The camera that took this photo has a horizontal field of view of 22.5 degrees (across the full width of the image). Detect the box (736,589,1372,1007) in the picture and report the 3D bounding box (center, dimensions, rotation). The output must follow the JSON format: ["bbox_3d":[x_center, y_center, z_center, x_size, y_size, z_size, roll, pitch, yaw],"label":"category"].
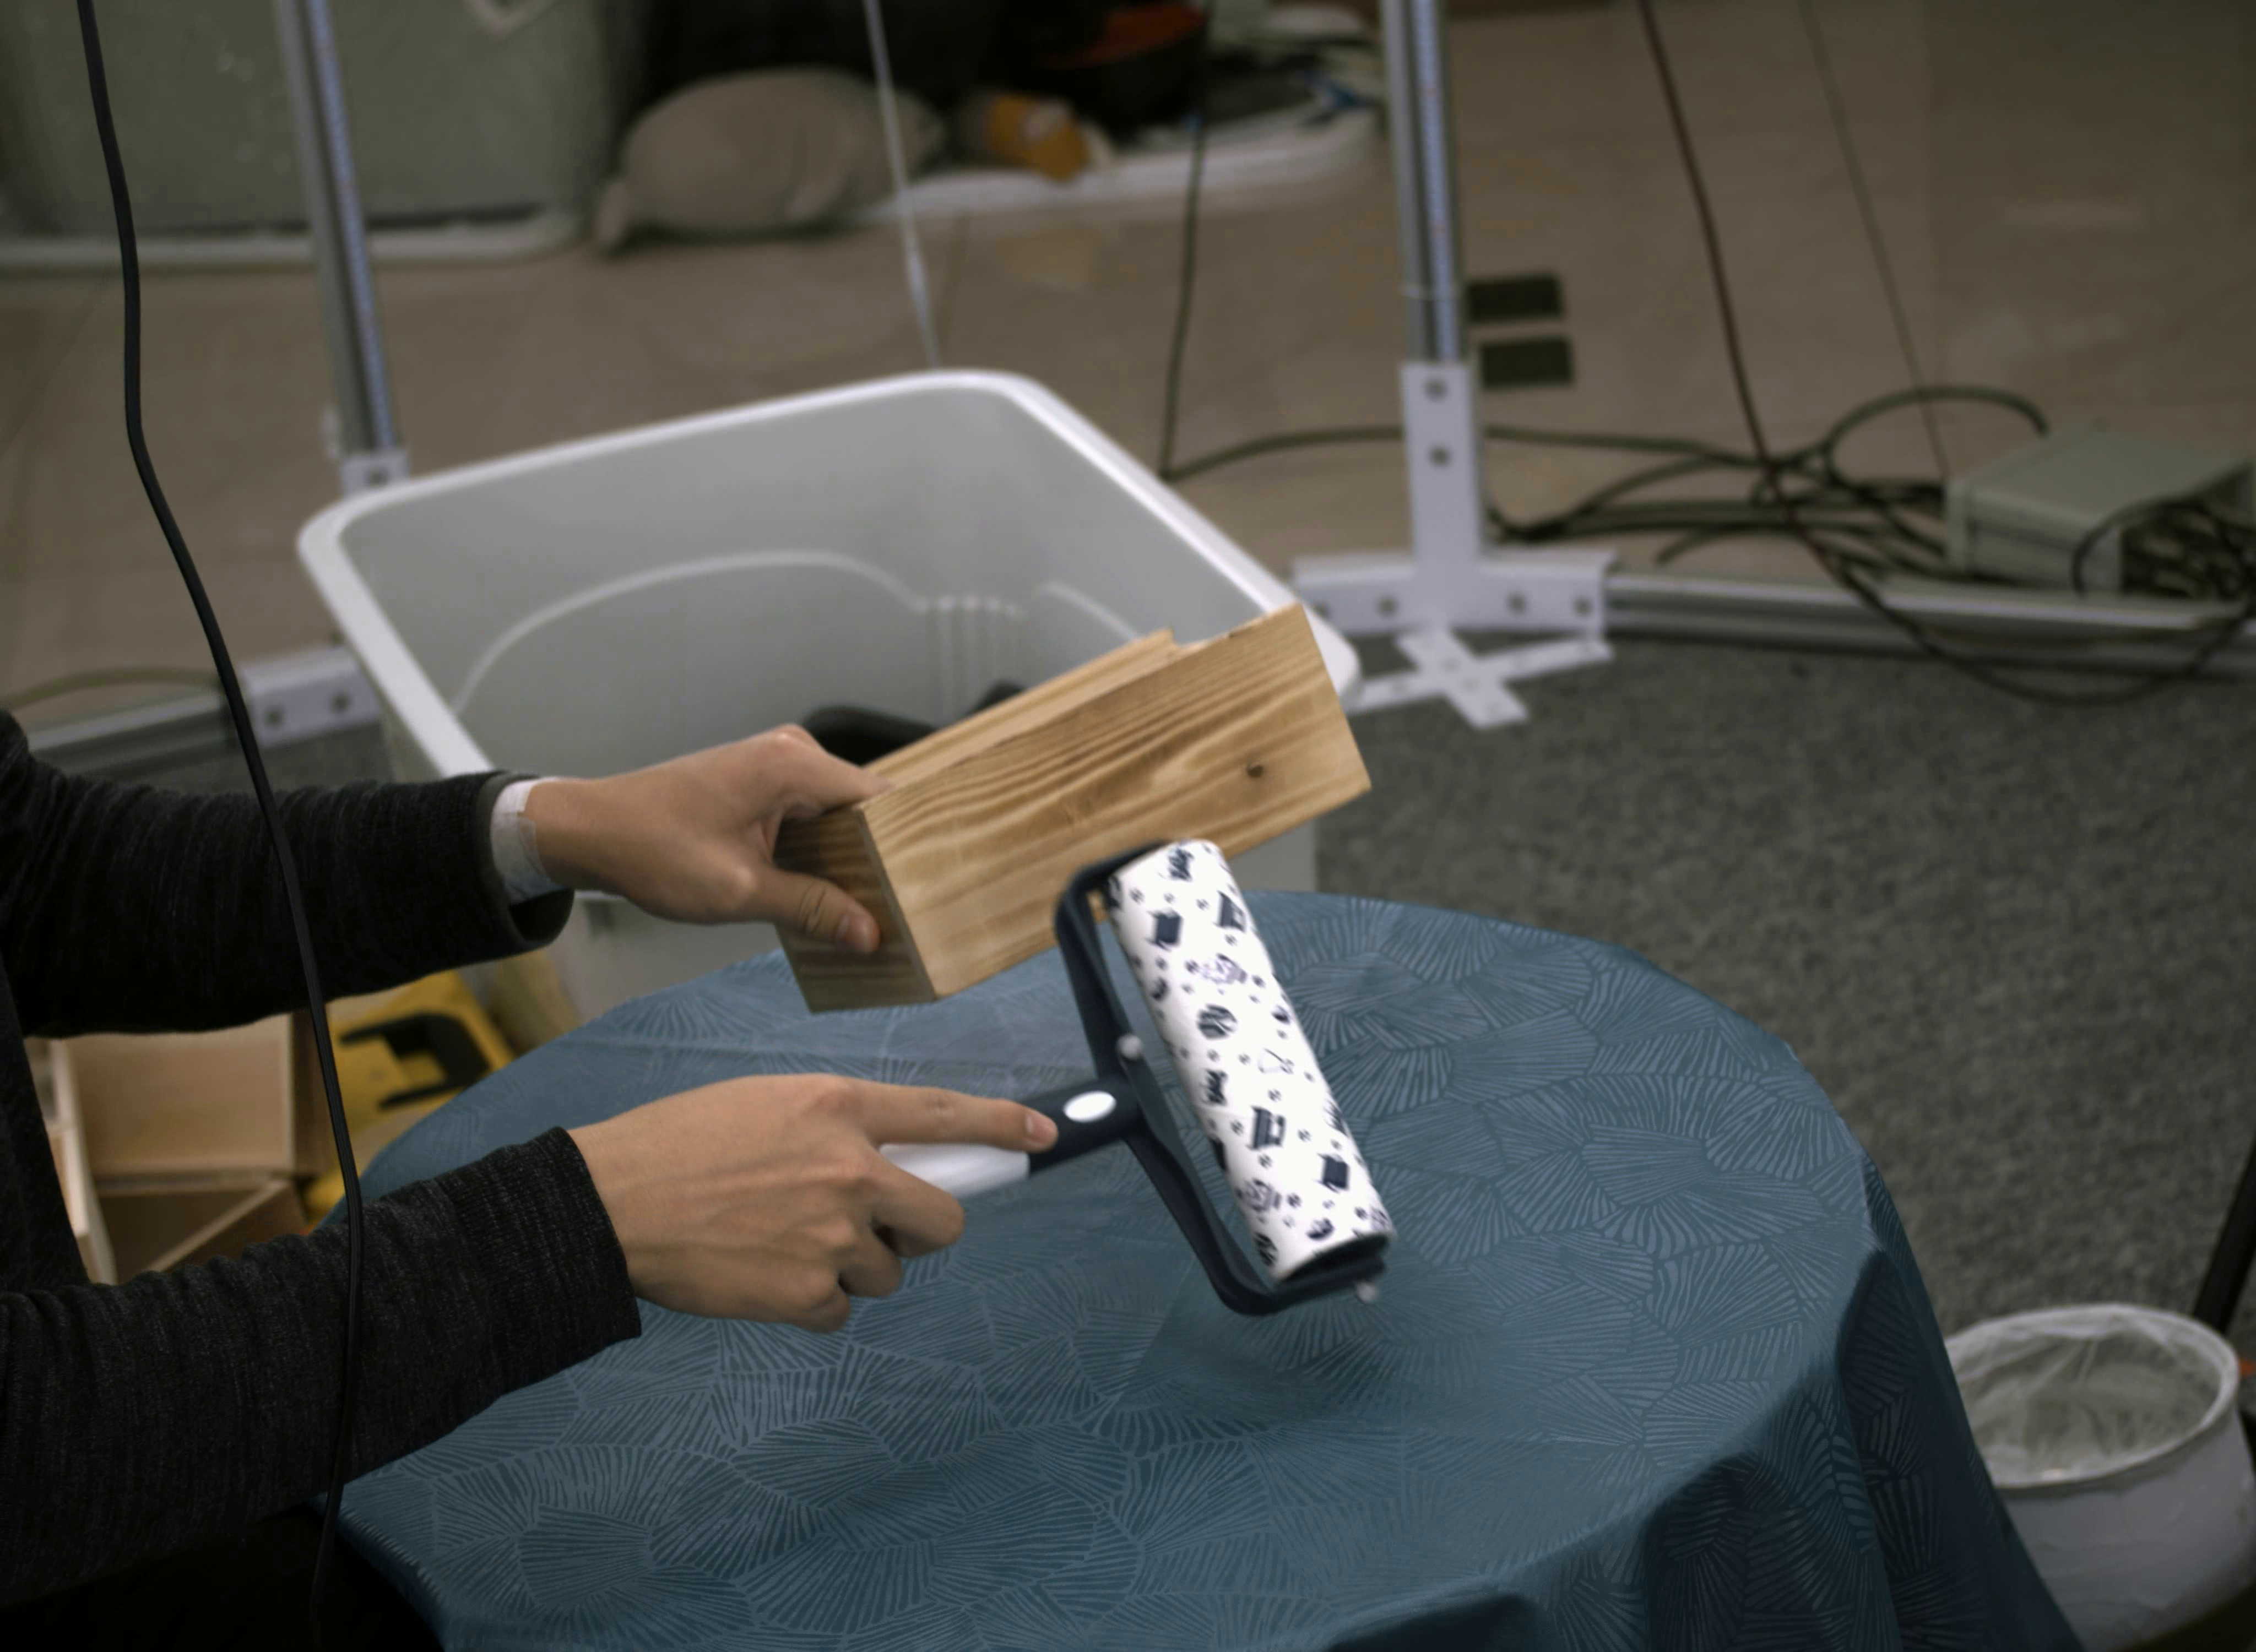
[{"bbox_3d":[-0.028,-0.011,2.173,0.210,0.081,0.107,-27,9,-29],"label":"box"}]

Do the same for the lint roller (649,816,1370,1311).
[{"bbox_3d":[-0.051,0.110,1.977,0.246,0.175,0.051,-18,-11,-25],"label":"lint roller"}]
